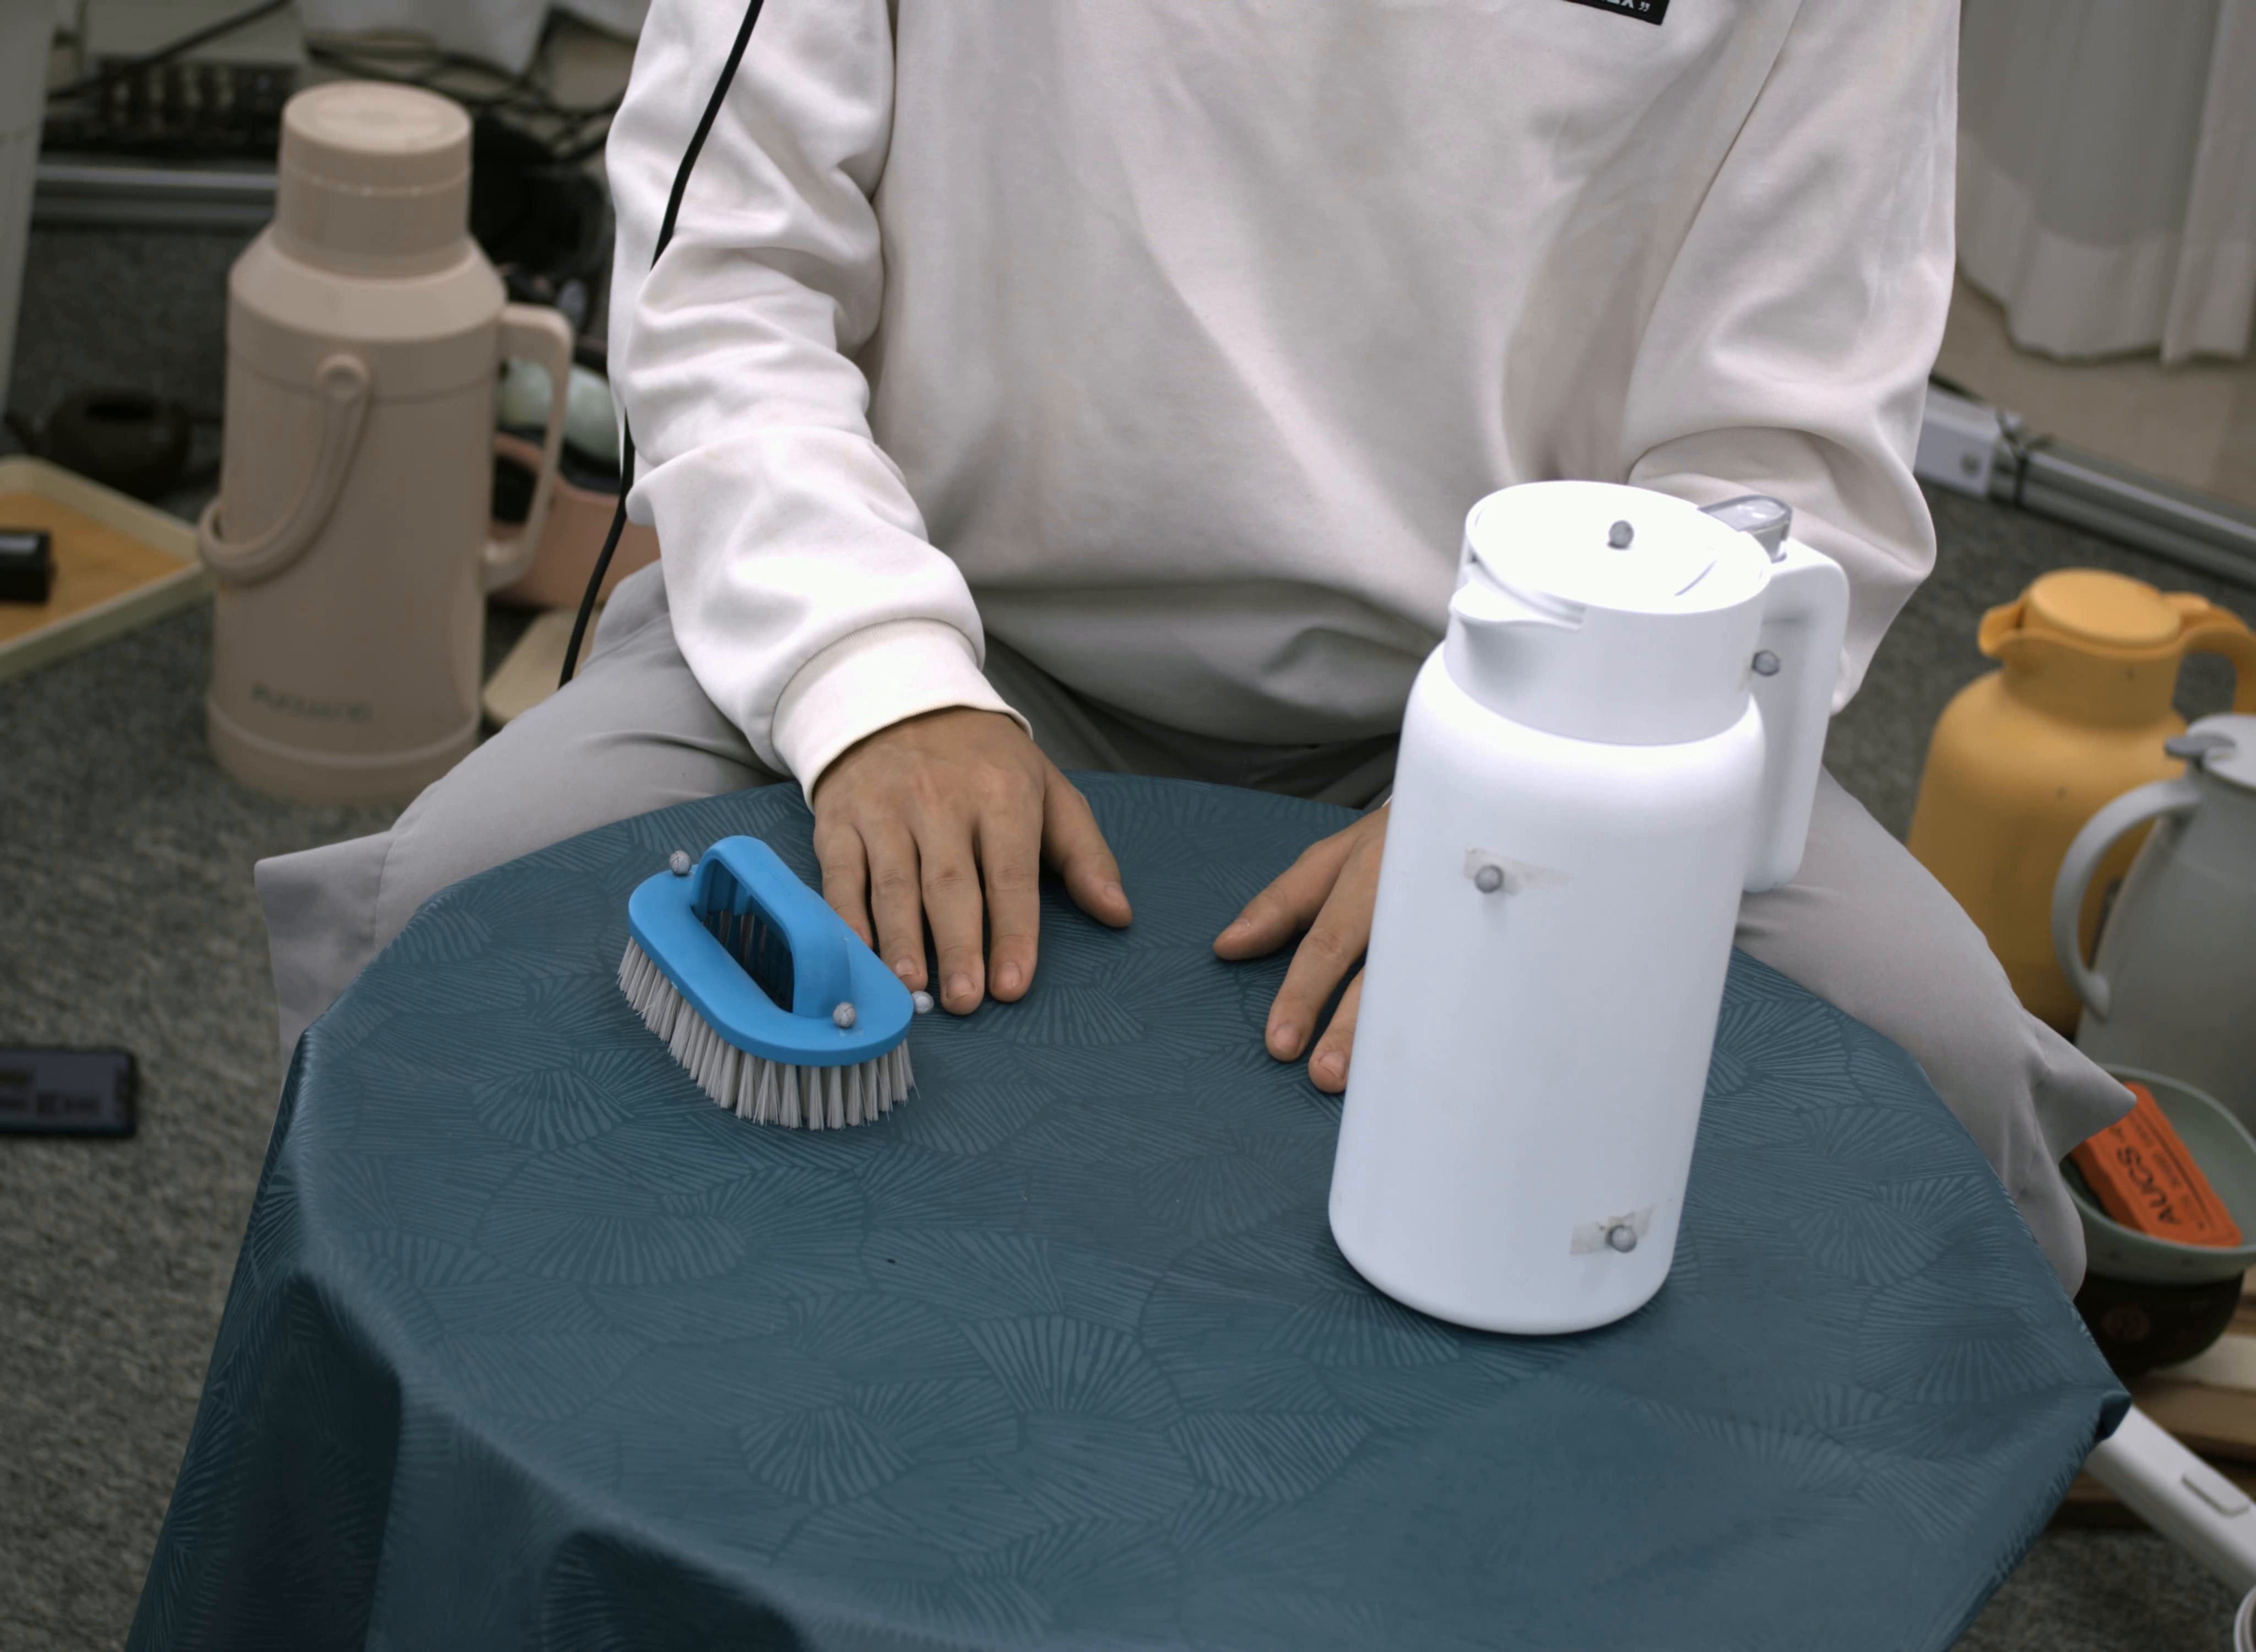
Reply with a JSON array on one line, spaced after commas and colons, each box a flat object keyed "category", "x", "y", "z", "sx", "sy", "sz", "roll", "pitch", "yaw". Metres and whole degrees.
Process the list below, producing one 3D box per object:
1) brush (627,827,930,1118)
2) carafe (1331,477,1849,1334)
[{"category": "brush", "x": -0.124, "y": 0.043, "z": 1.864, "sx": 0.084, "sy": 0.063, "sz": 0.143, "roll": -12, "pitch": 31, "yaw": -23}, {"category": "carafe", "x": 0.152, "y": 0.022, "z": 1.748, "sx": 0.172, "sy": 0.268, "sz": 0.125, "roll": -15, "pitch": 32, "yaw": -38}]
